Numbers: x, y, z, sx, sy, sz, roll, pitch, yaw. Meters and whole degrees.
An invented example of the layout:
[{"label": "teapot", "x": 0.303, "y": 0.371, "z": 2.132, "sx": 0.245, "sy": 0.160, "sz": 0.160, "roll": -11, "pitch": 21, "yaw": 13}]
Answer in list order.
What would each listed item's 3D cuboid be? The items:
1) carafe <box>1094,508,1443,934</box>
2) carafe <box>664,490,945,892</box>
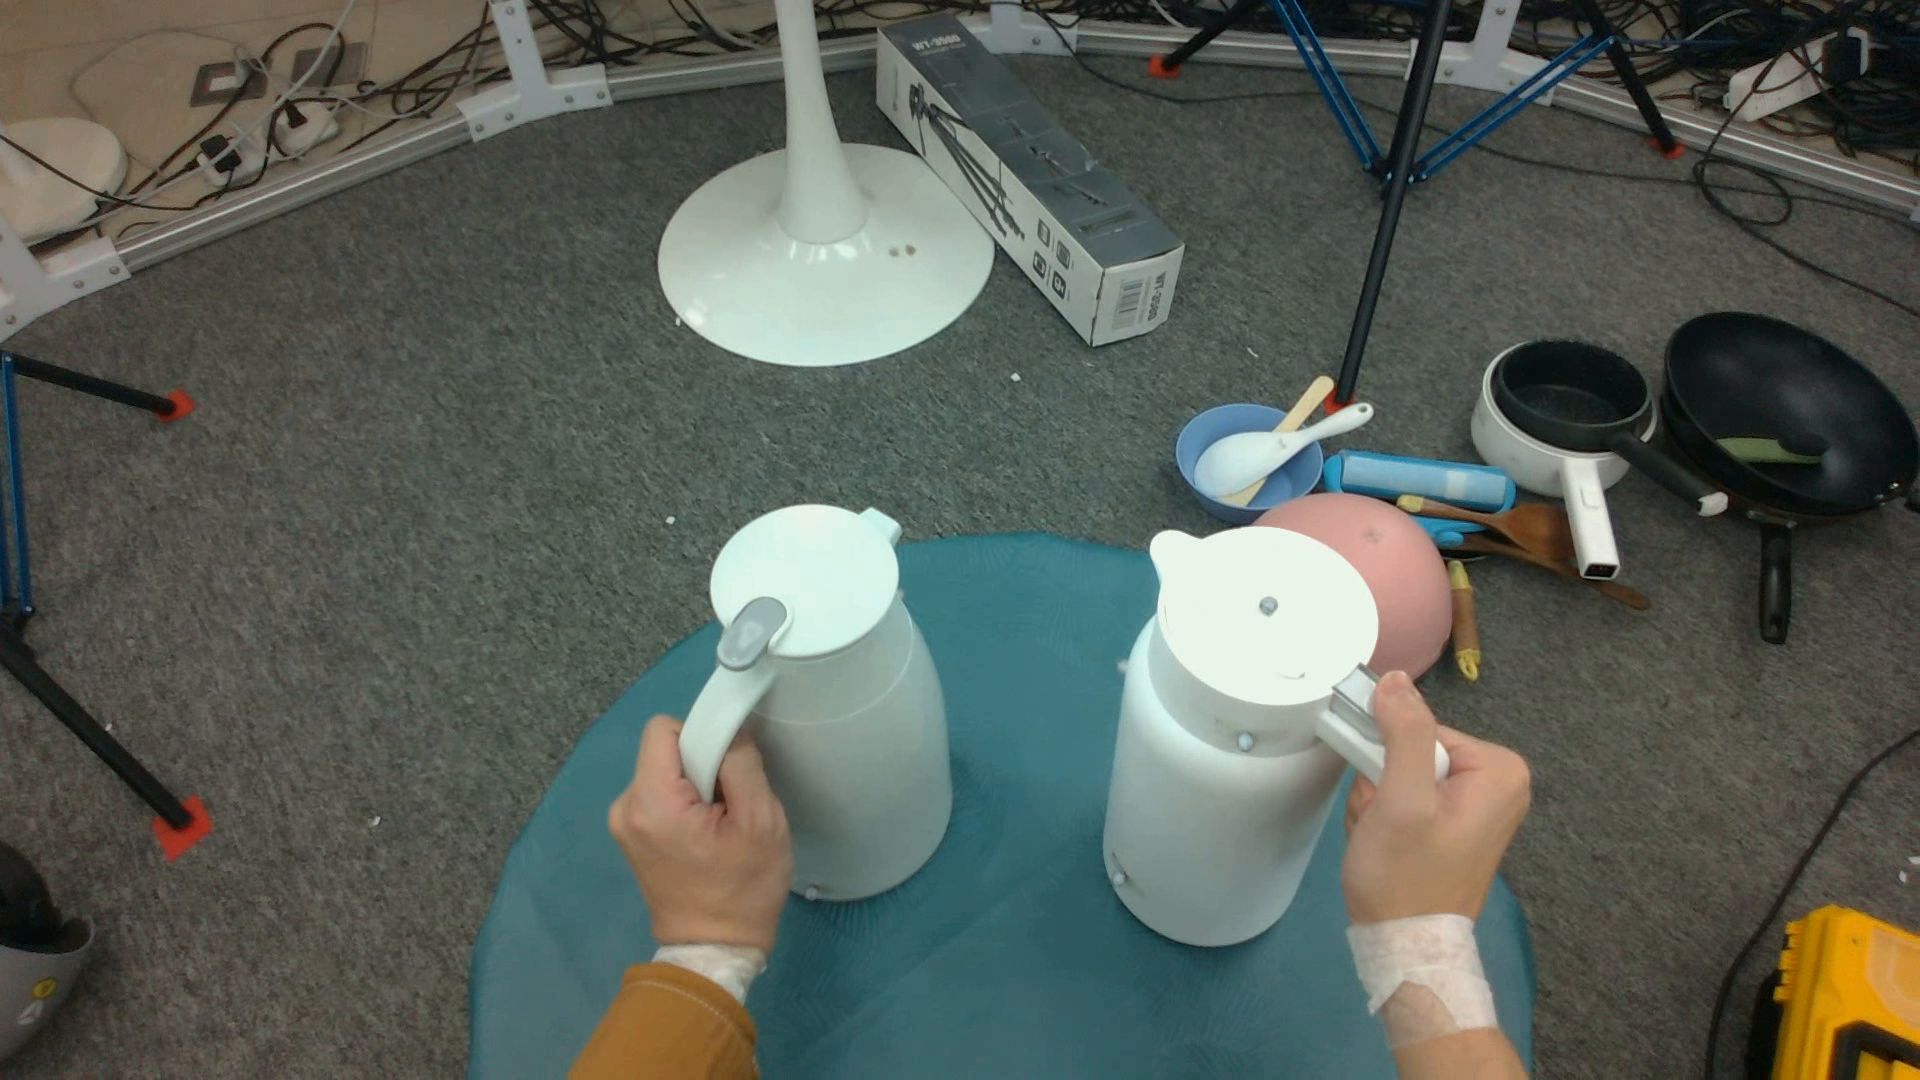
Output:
[{"label": "carafe", "x": 0.149, "y": 0.114, "z": 0.717, "sx": 0.124, "sy": 0.267, "sz": 0.173, "roll": -35, "pitch": 60, "yaw": -26}, {"label": "carafe", "x": -0.088, "y": 0.095, "z": 0.746, "sx": 0.132, "sy": 0.247, "sz": 0.168, "roll": 28, "pitch": 59, "yaw": 21}]
